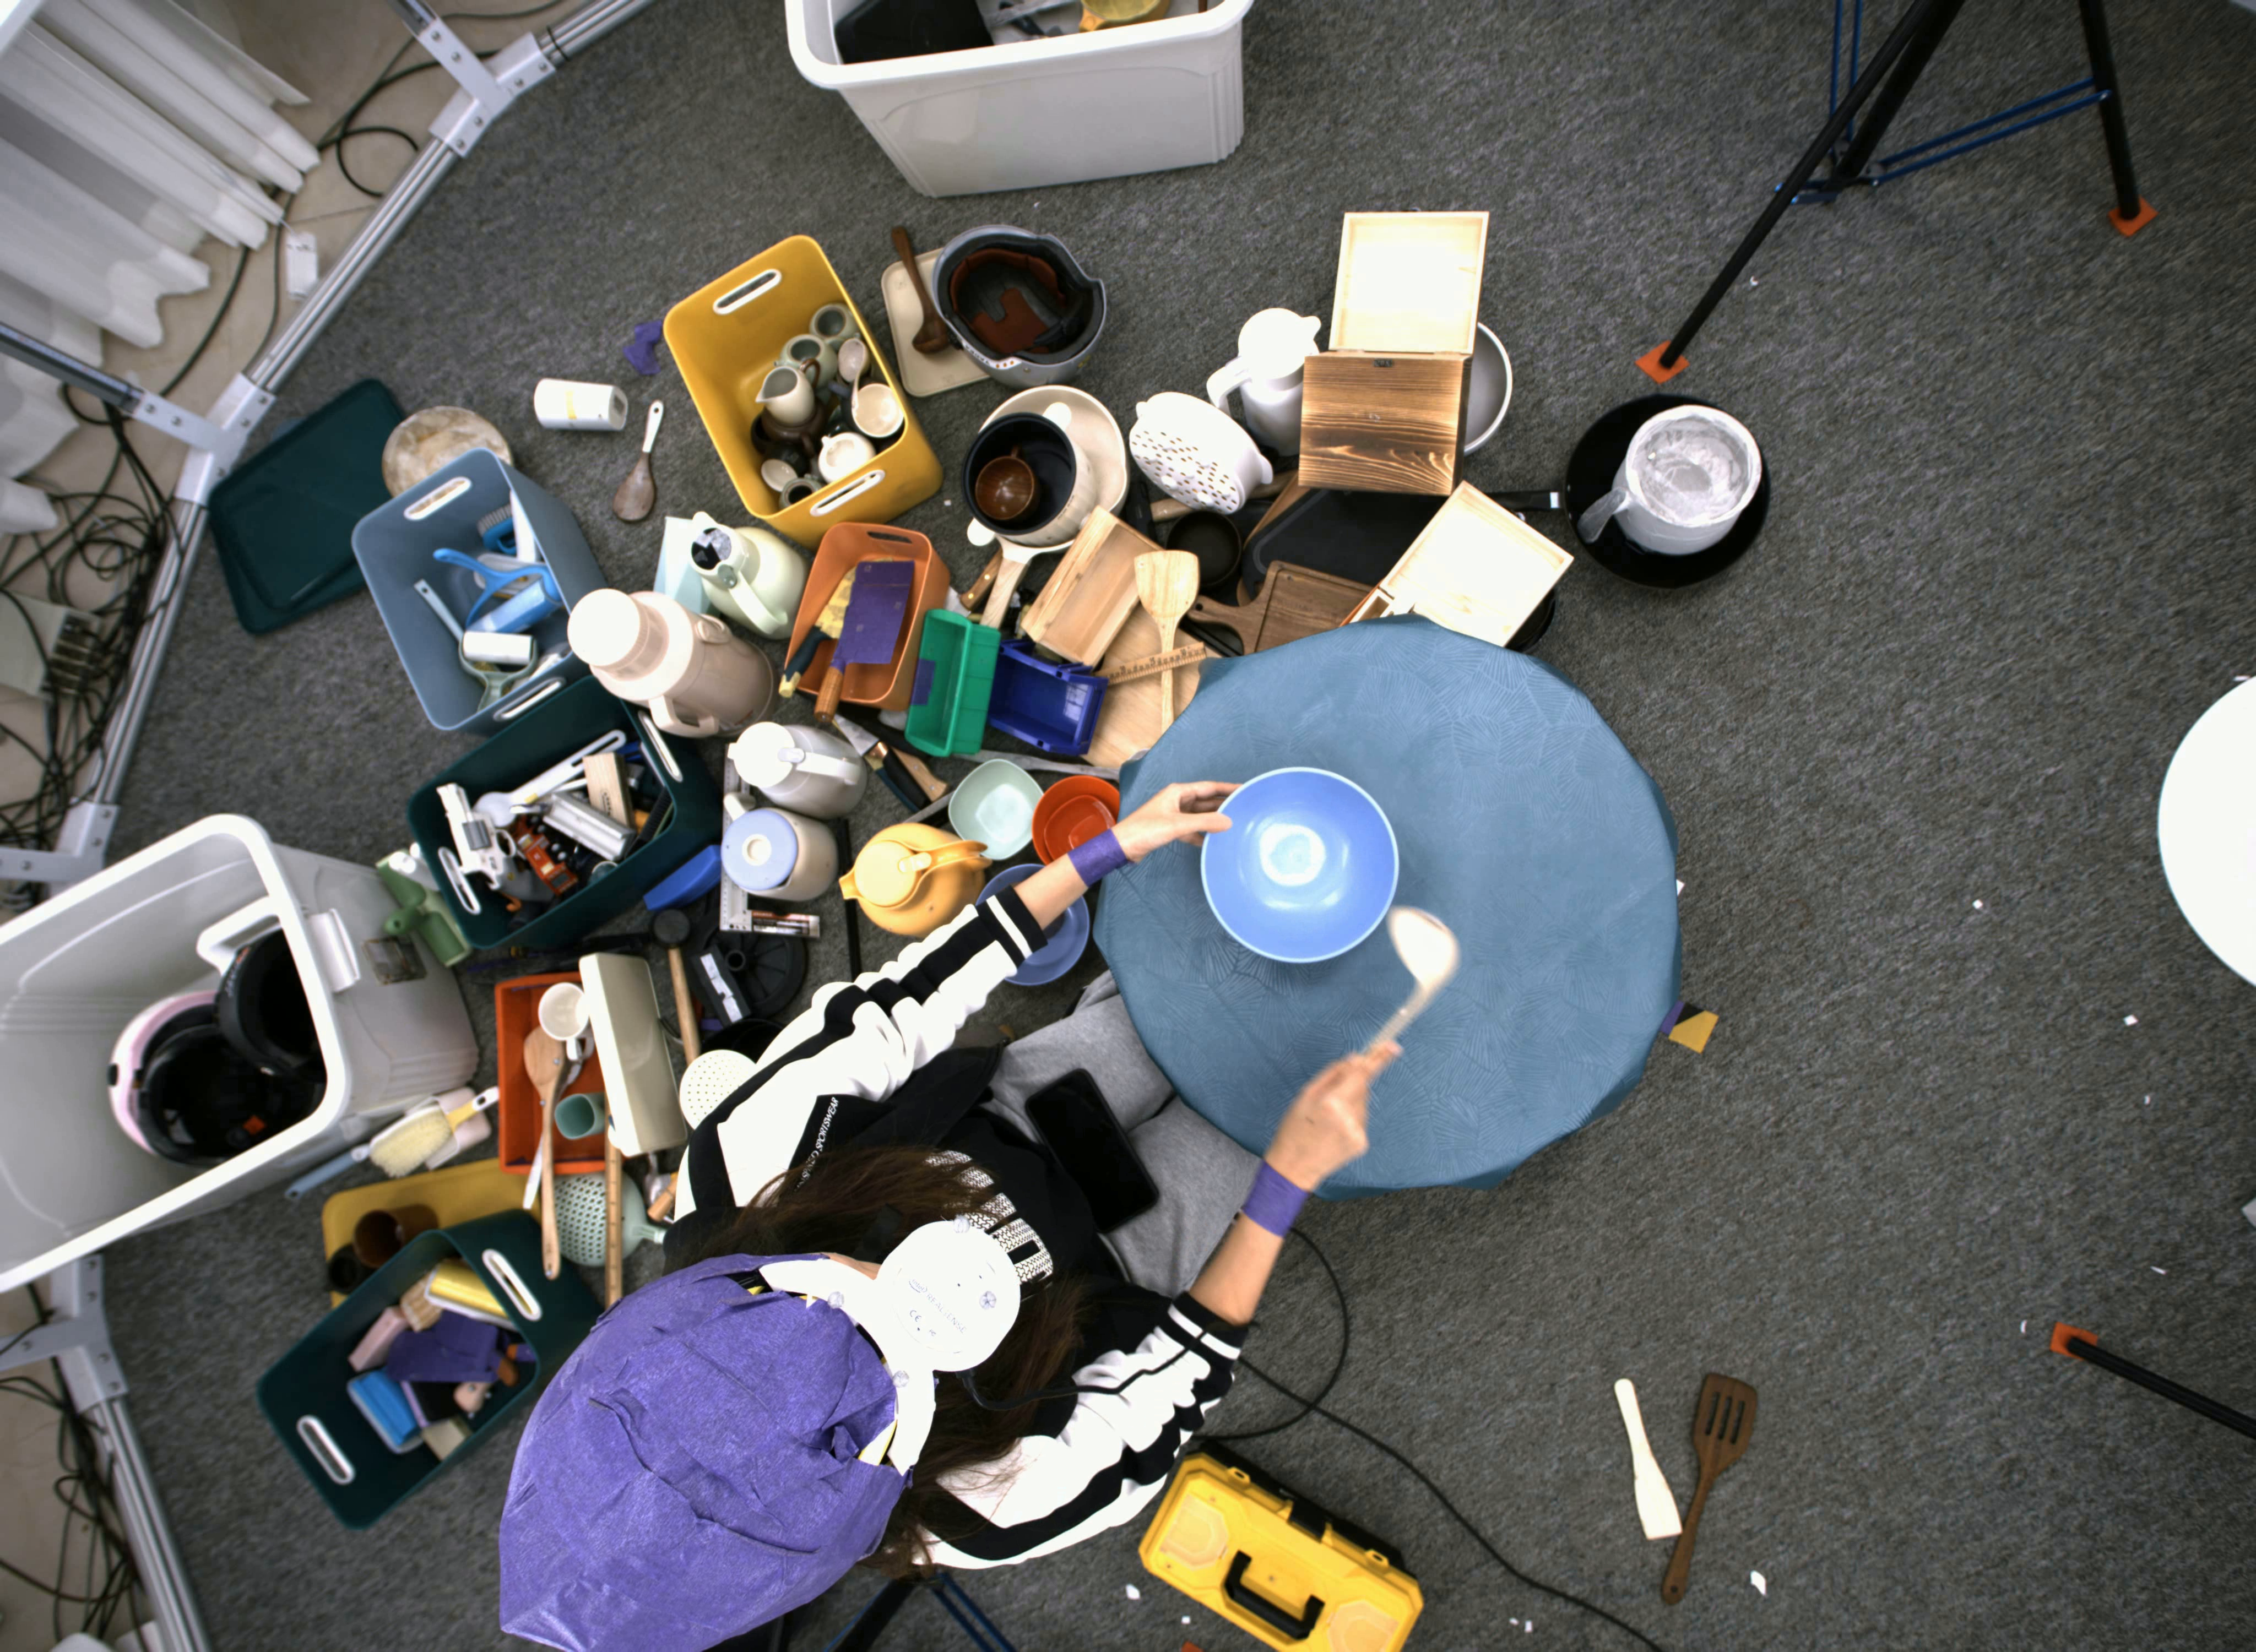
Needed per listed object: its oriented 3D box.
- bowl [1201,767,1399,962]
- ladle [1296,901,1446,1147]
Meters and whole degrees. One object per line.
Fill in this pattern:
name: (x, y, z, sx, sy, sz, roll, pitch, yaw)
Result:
bowl: (0.174, 0.035, 1.419, 0.197, 0.094, 0.197, 1, 97, 5)
ladle: (0.205, 0.181, 1.292, 0.072, 0.072, 0.259, 45, 114, 31)
